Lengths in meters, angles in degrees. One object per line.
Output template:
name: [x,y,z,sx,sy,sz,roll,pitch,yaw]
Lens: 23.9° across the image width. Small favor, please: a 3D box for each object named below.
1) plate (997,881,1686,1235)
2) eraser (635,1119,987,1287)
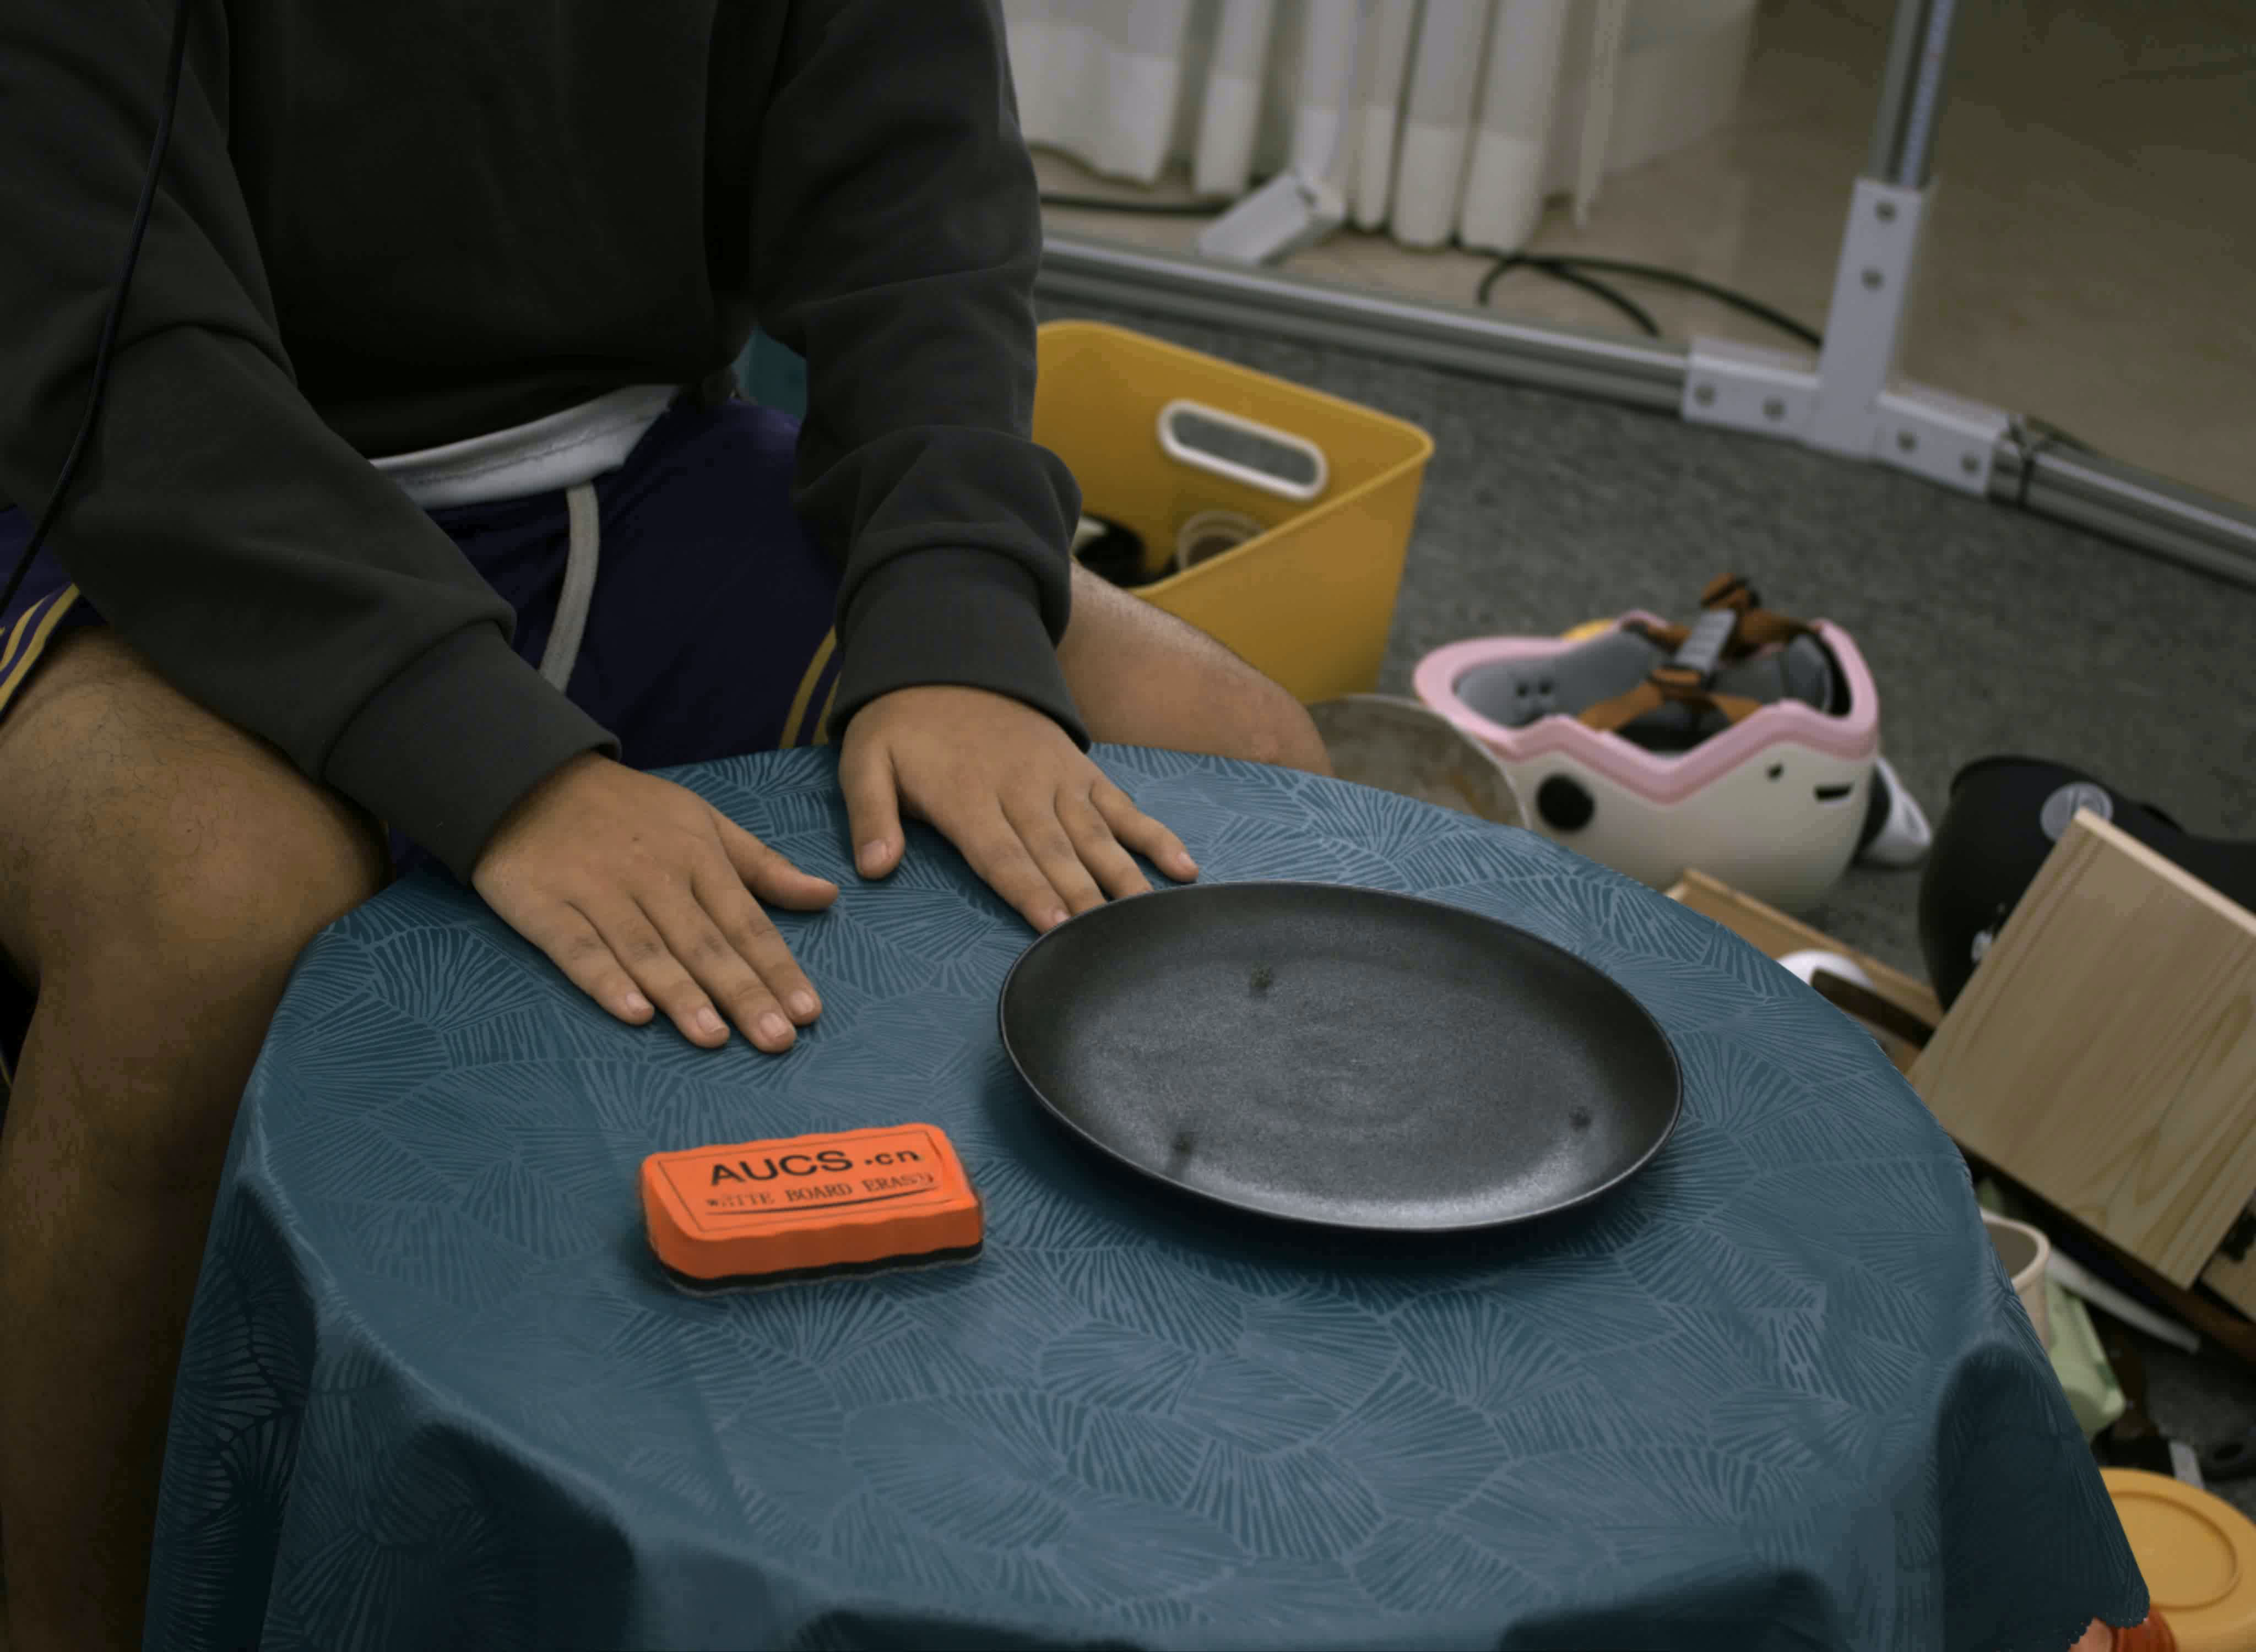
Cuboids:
plate: [0.074,0.085,1.868,0.243,0.023,0.246,5,27,-3]
eraser: [-0.104,0.123,1.746,0.107,0.023,0.059,-4,29,-24]
